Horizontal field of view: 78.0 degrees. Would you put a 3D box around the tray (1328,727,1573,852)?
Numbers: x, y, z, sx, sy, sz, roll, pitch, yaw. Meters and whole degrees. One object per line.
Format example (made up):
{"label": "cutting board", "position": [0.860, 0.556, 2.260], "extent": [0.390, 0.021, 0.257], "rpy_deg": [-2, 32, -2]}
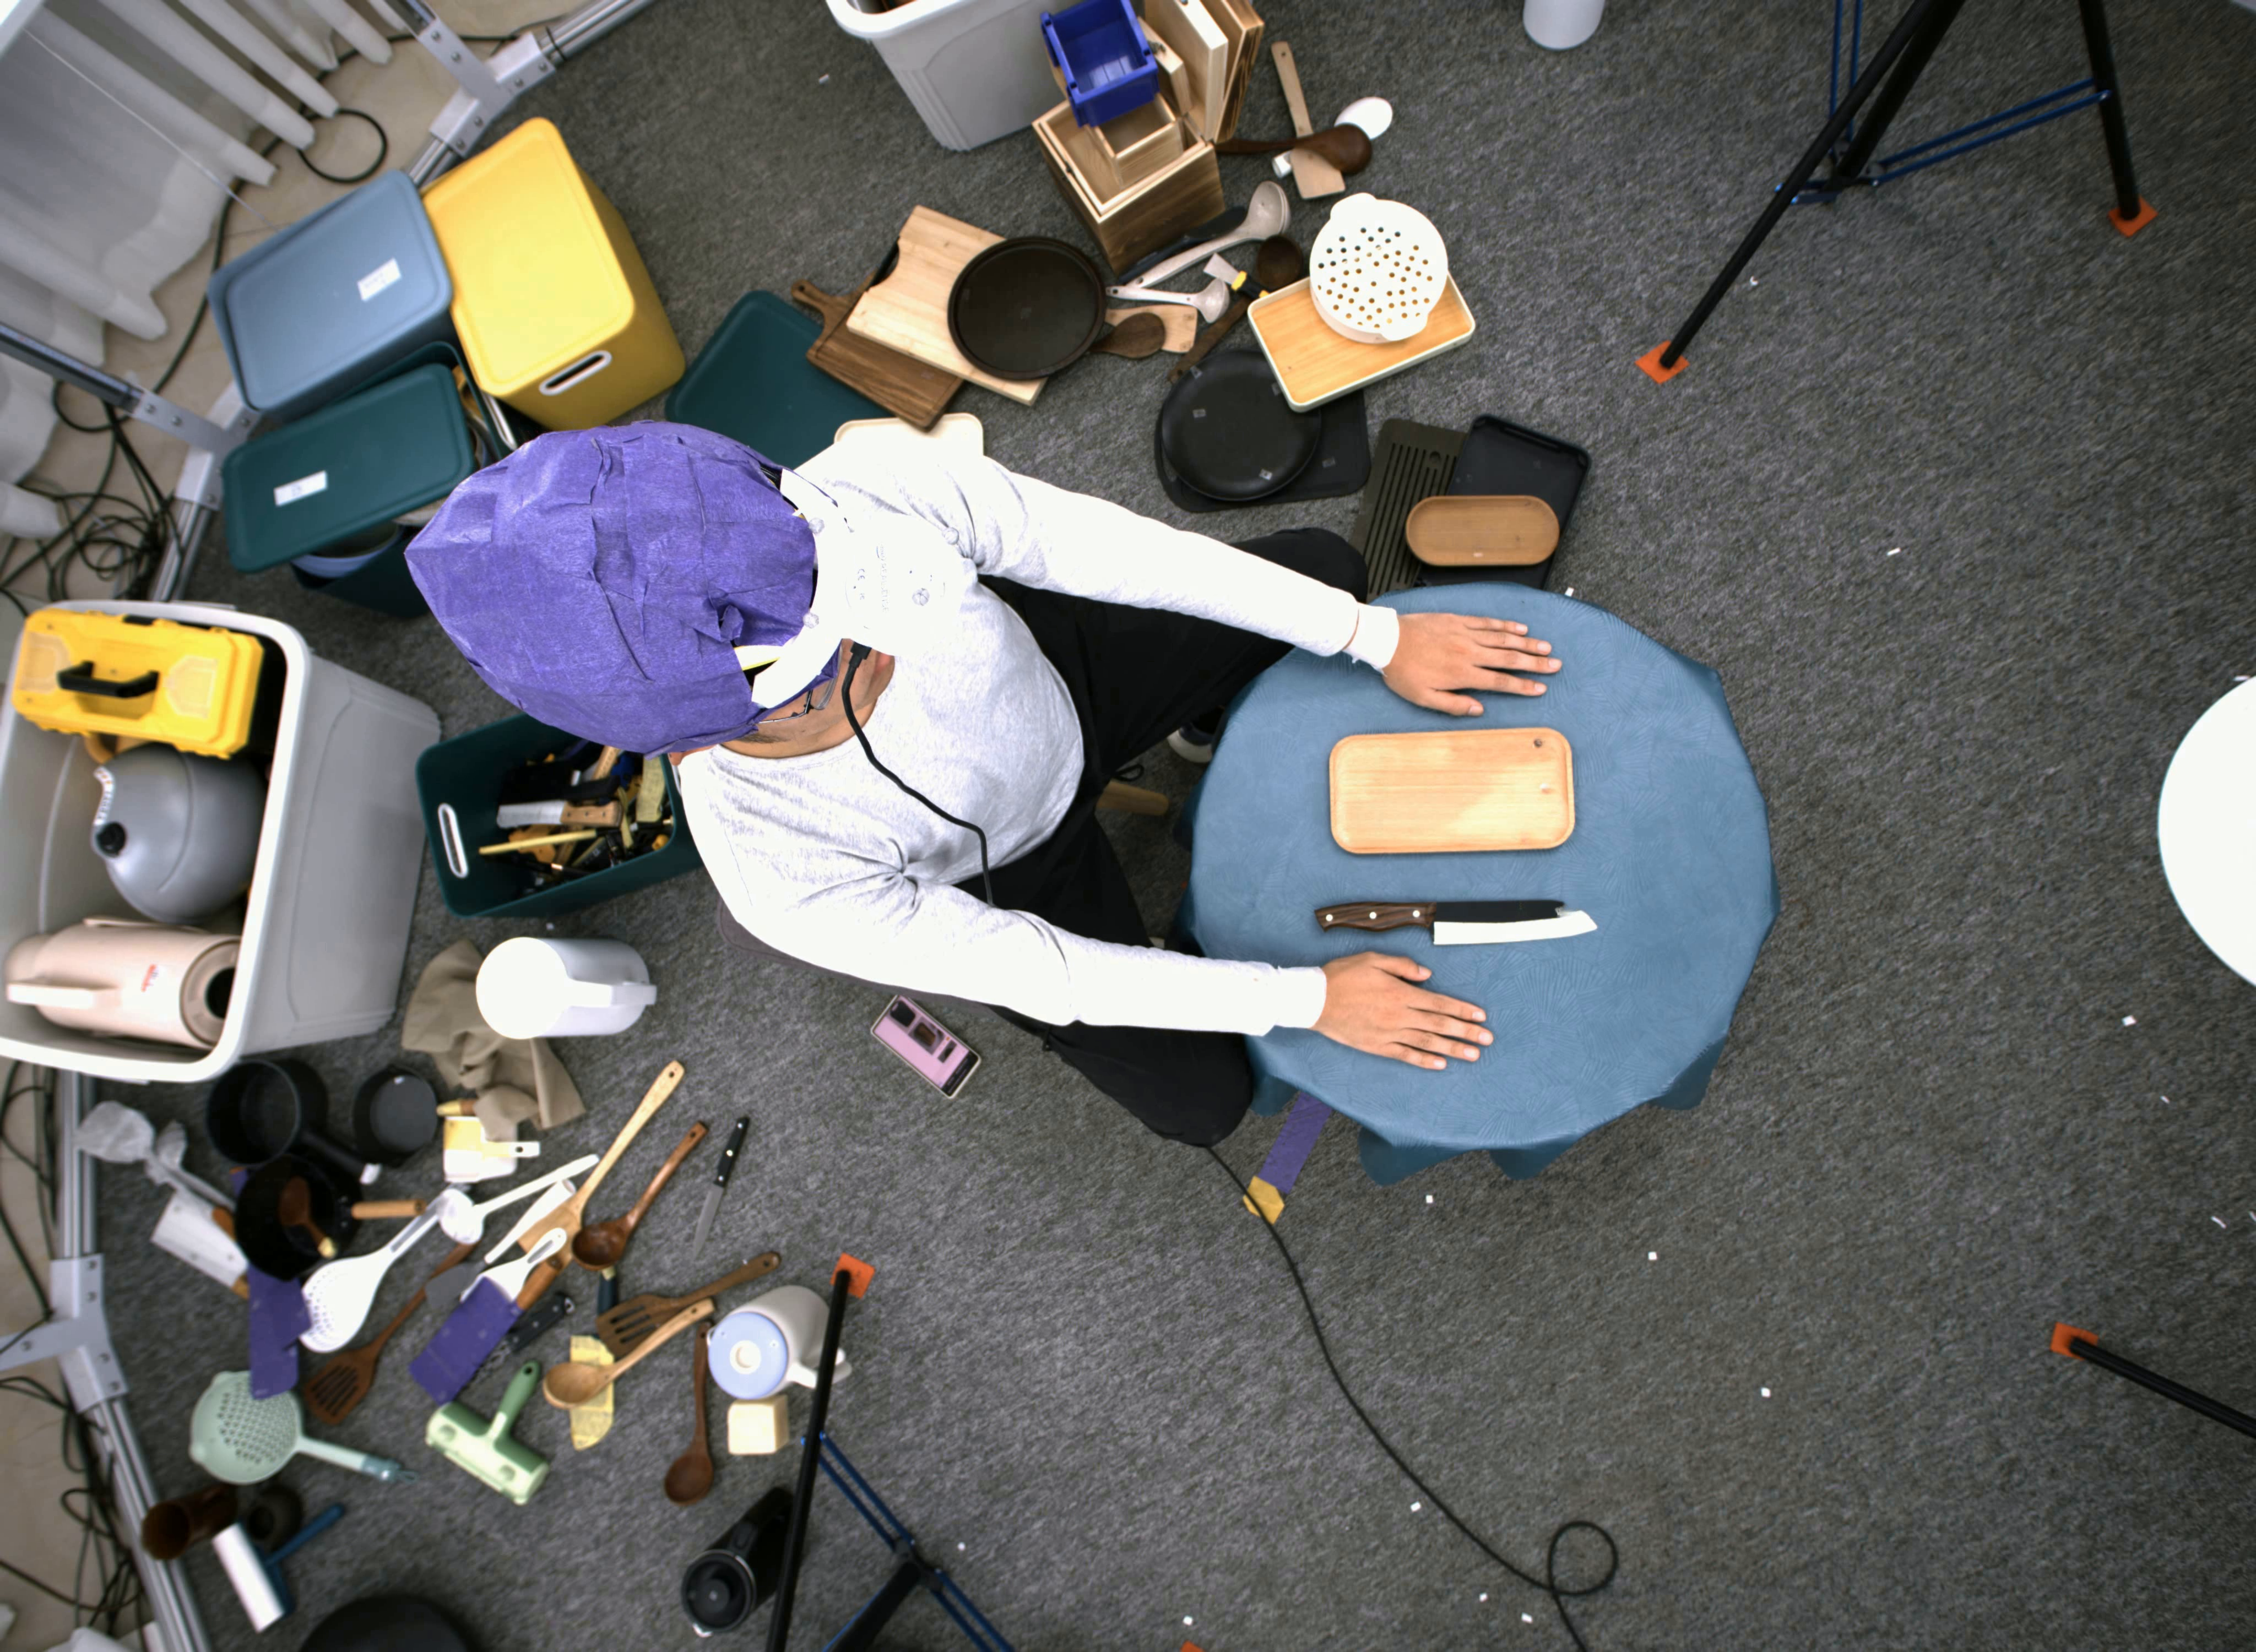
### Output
{"label": "tray", "position": [0.338, -0.039, 1.446], "extent": [0.252, 0.023, 0.130], "rpy_deg": [-1, 84, 11]}

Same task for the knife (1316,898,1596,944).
{"label": "knife", "position": [0.341, 0.096, 1.438], "extent": [0.290, 0.020, 0.050], "rpy_deg": [0, 91, 8]}
